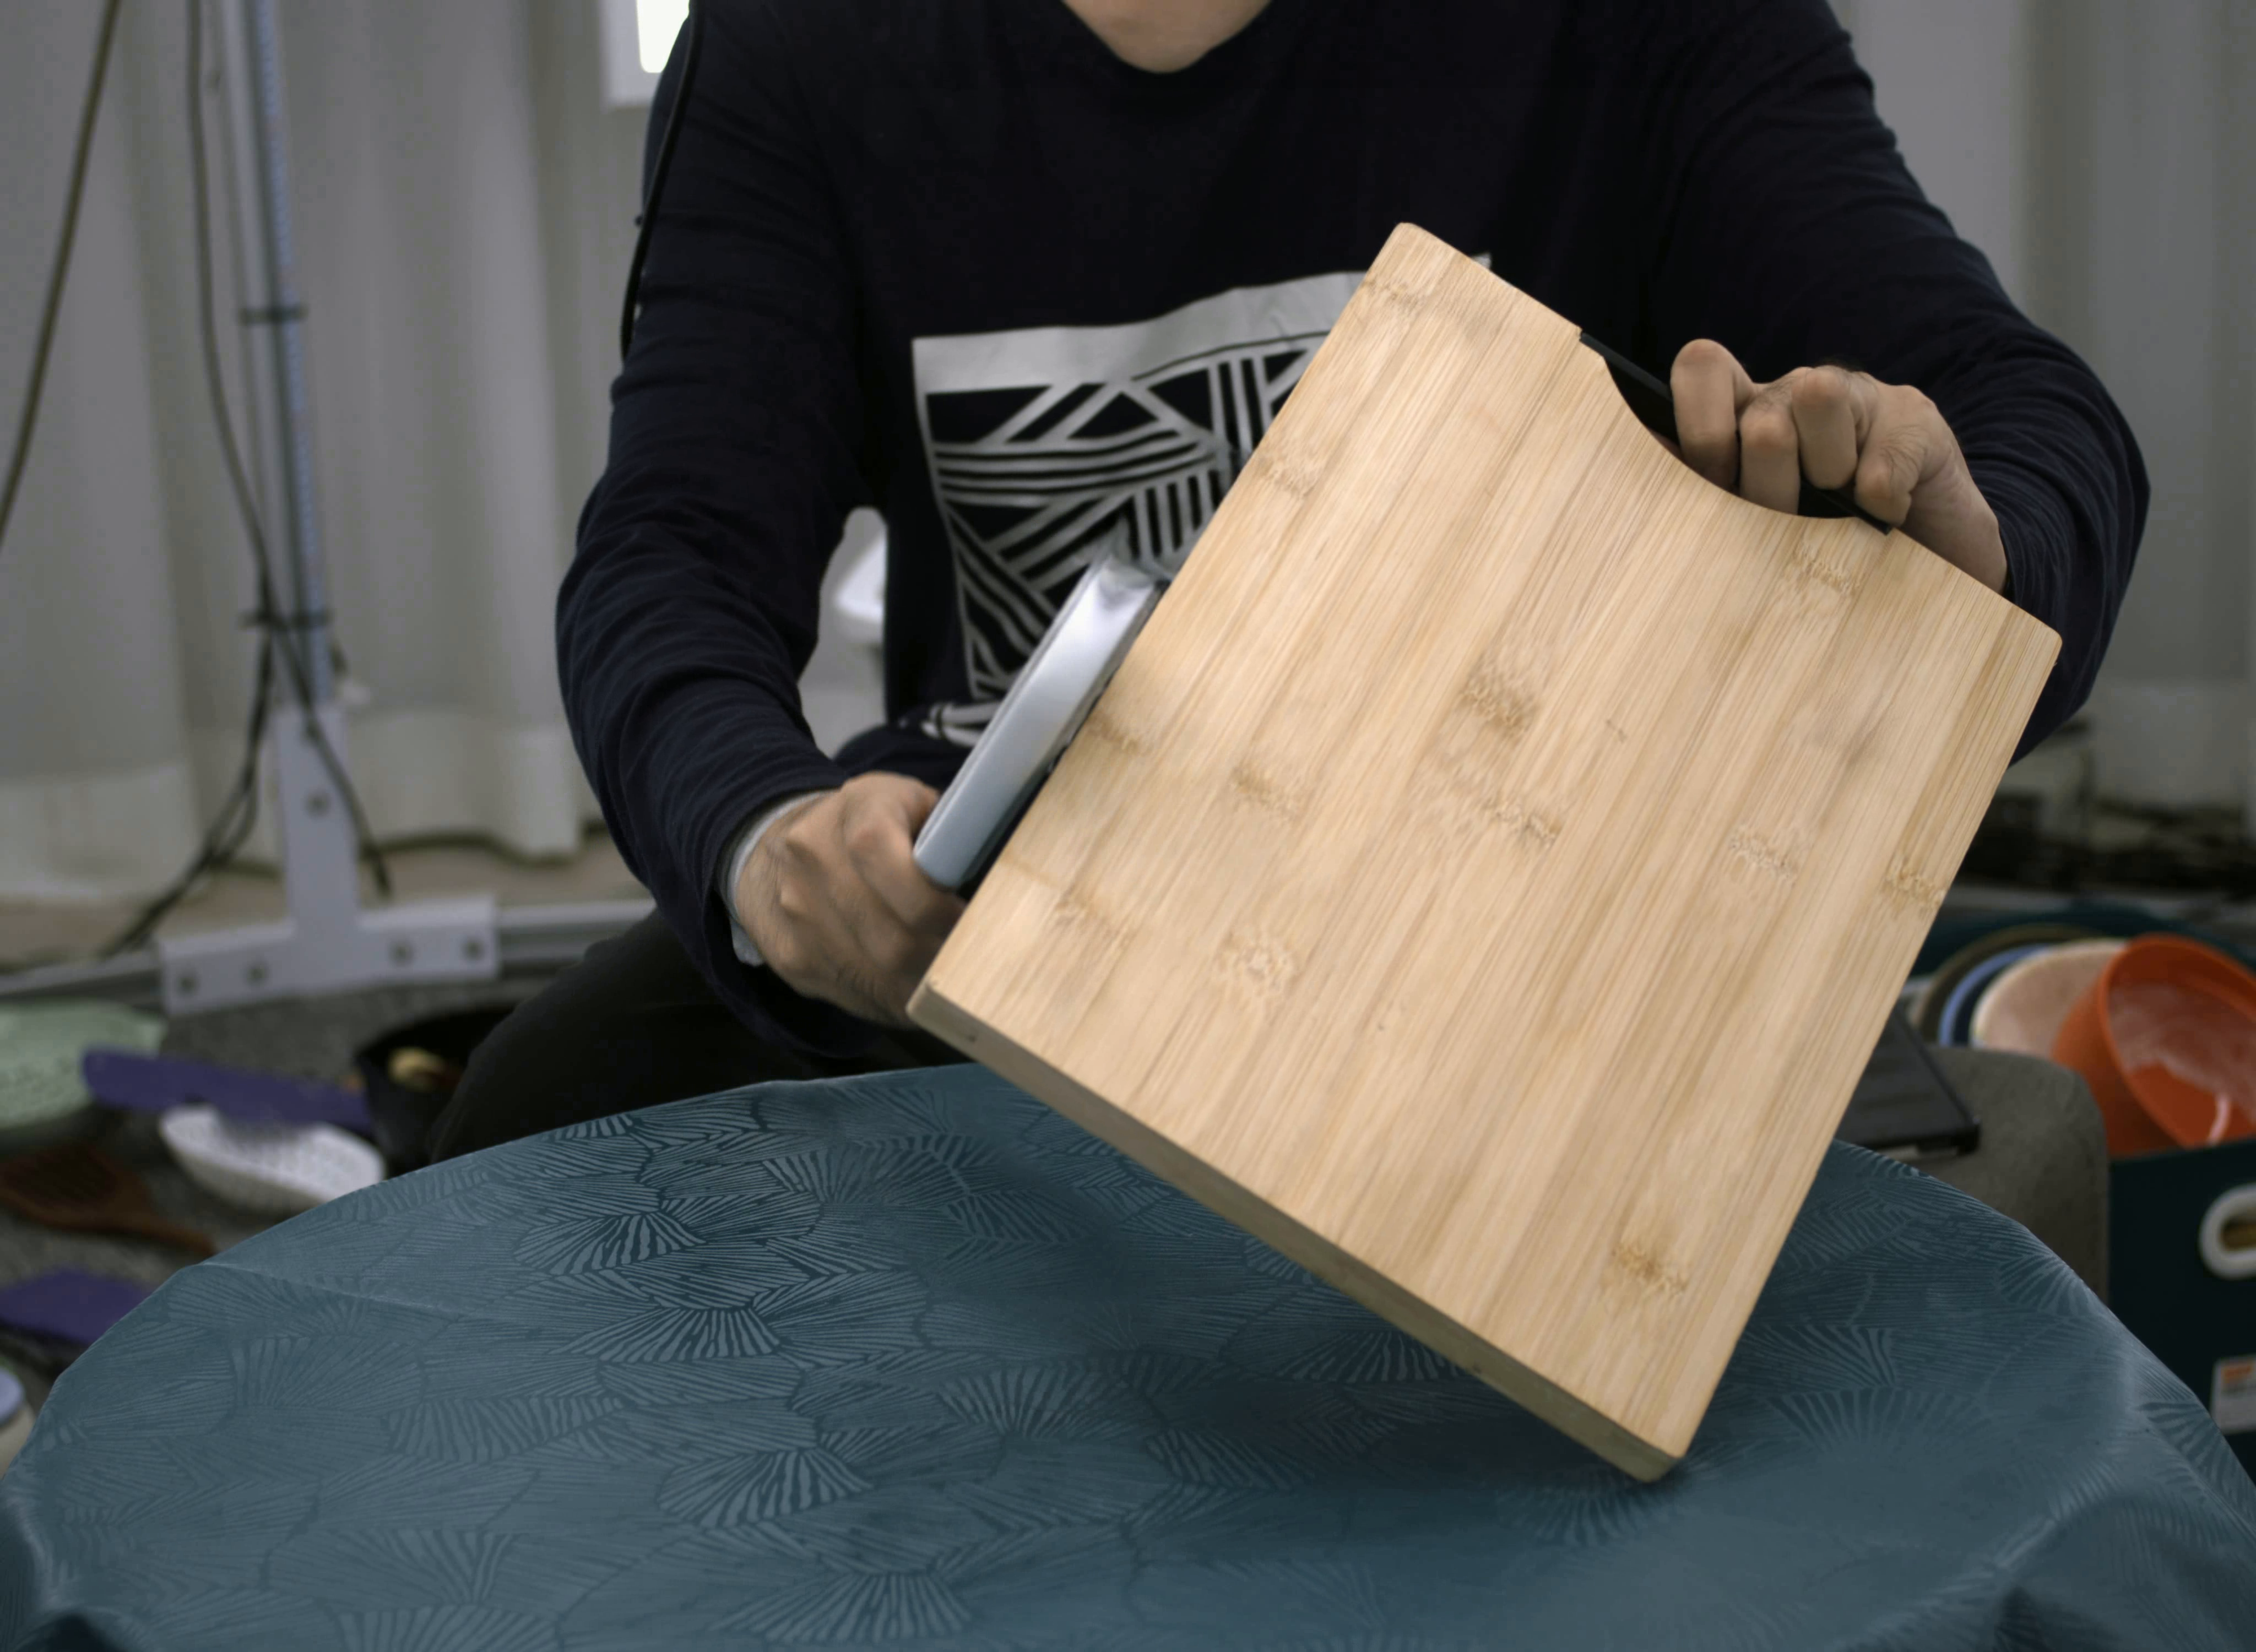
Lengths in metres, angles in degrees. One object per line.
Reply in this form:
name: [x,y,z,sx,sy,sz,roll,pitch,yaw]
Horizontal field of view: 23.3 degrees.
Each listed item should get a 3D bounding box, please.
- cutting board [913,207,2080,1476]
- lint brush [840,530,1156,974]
cutting board: [0.115,-0.007,1.566,0.250,0.023,0.352,32,51,-1]
lint brush: [-0.043,-0.013,1.597,0.021,0.060,0.307,29,-24,-4]
